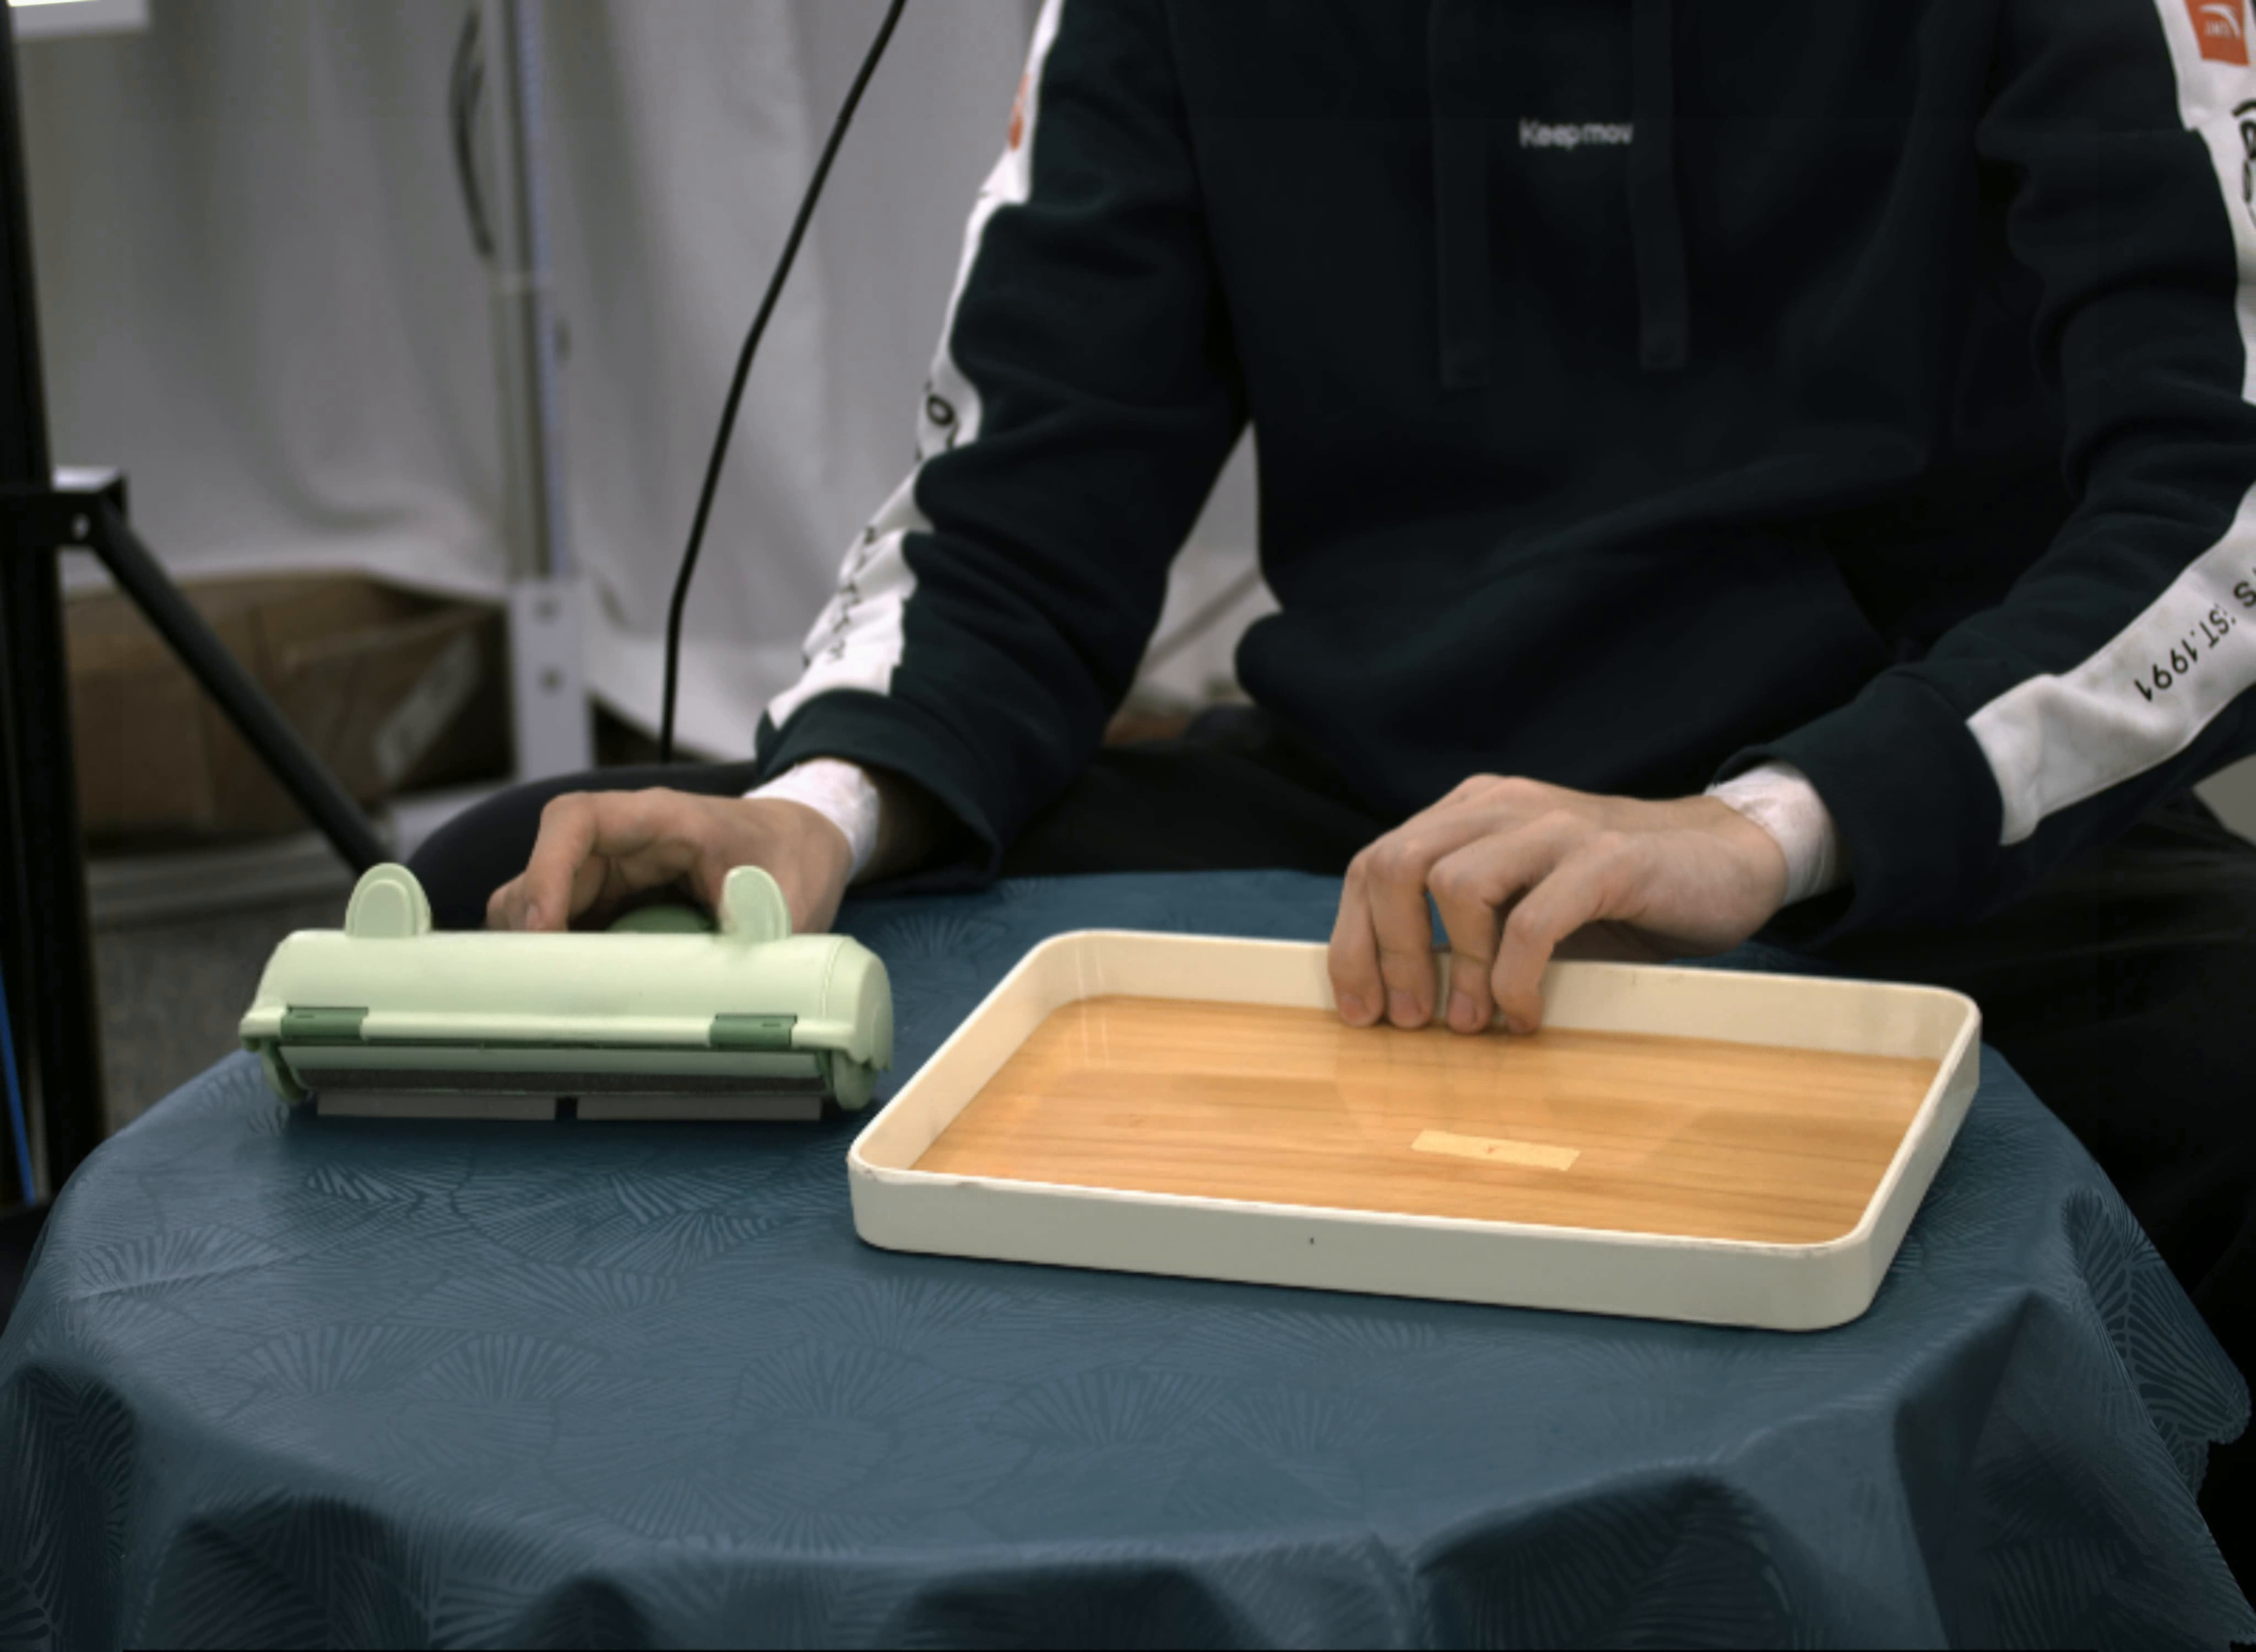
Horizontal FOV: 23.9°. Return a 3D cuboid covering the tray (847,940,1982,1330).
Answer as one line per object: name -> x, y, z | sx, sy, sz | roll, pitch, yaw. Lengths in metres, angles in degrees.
tray -> 0.086, 0.087, 1.545 | 0.304, 0.027, 0.189 | 4, 21, 21

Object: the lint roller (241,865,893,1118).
lint roller -> -0.162, 0.035, 1.698 | 0.200, 0.082, 0.182 | 0, 21, 13
